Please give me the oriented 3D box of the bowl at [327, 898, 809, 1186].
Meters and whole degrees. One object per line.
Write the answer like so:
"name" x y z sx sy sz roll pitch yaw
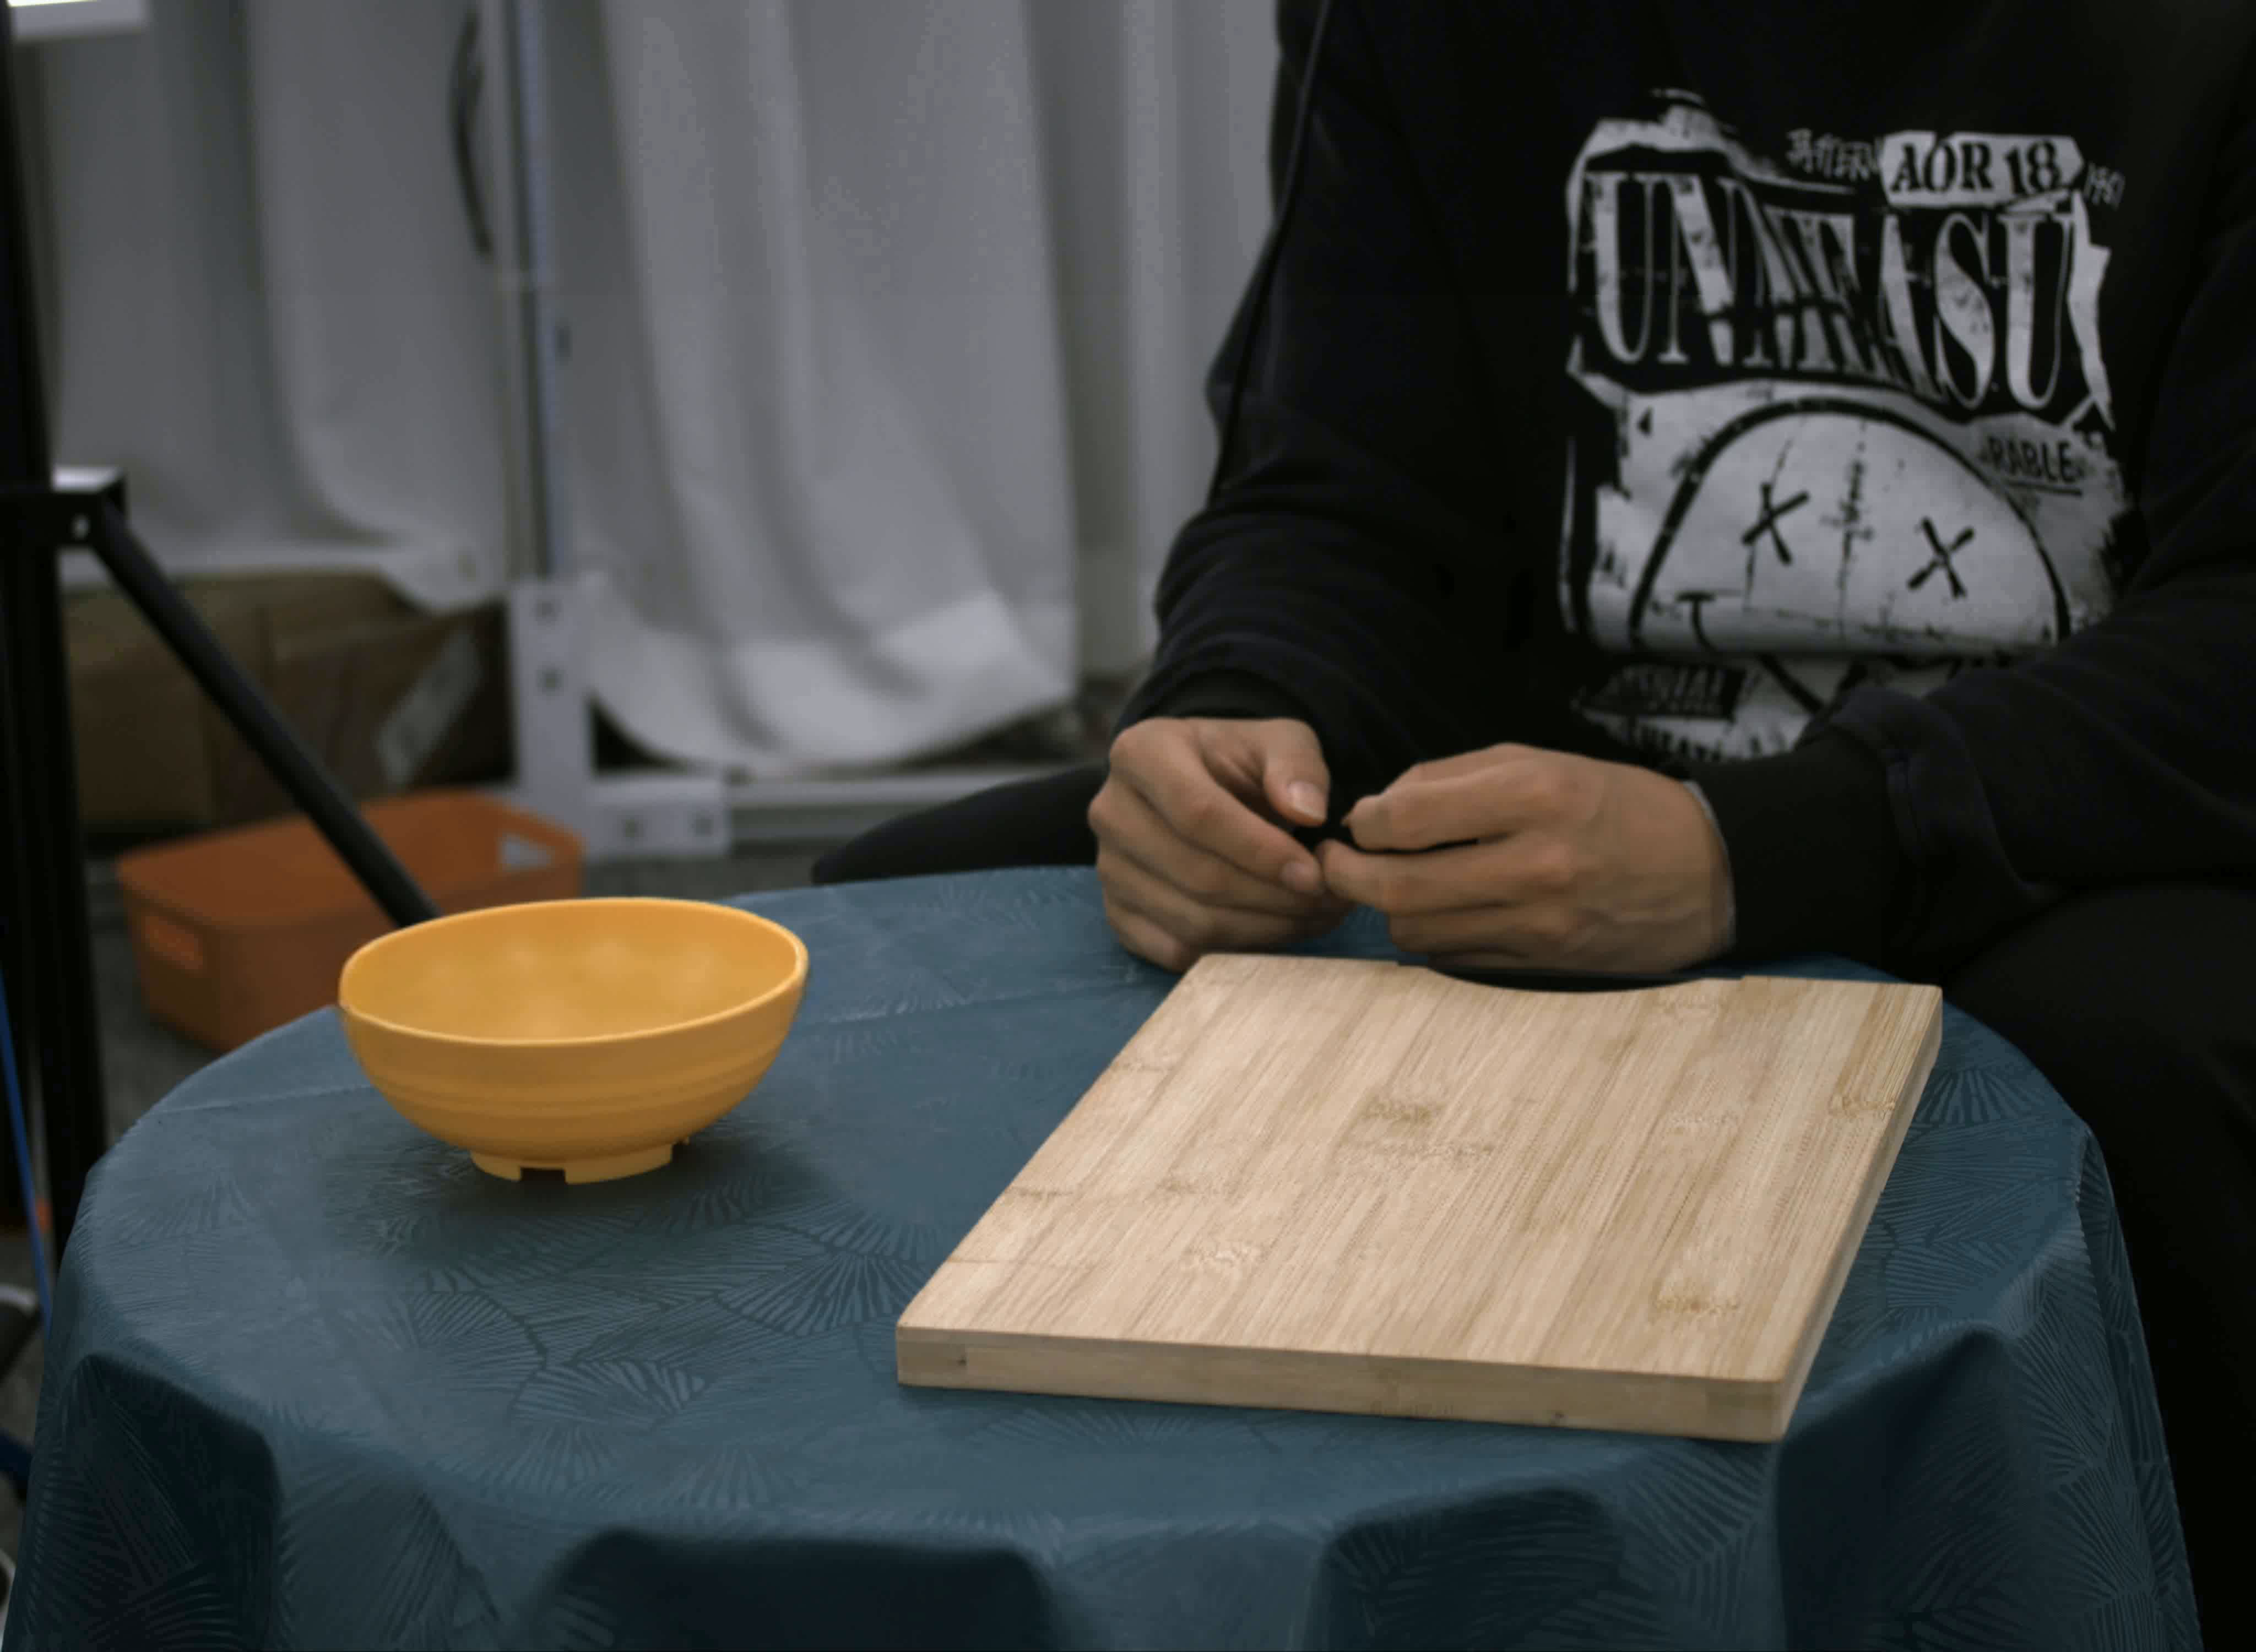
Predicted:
"bowl" -0.169 0.071 1.614 0.144 0.060 0.146 0 16 -1

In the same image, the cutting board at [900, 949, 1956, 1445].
"cutting board" 0.099 0.100 1.541 0.253 0.023 0.346 2 16 15
